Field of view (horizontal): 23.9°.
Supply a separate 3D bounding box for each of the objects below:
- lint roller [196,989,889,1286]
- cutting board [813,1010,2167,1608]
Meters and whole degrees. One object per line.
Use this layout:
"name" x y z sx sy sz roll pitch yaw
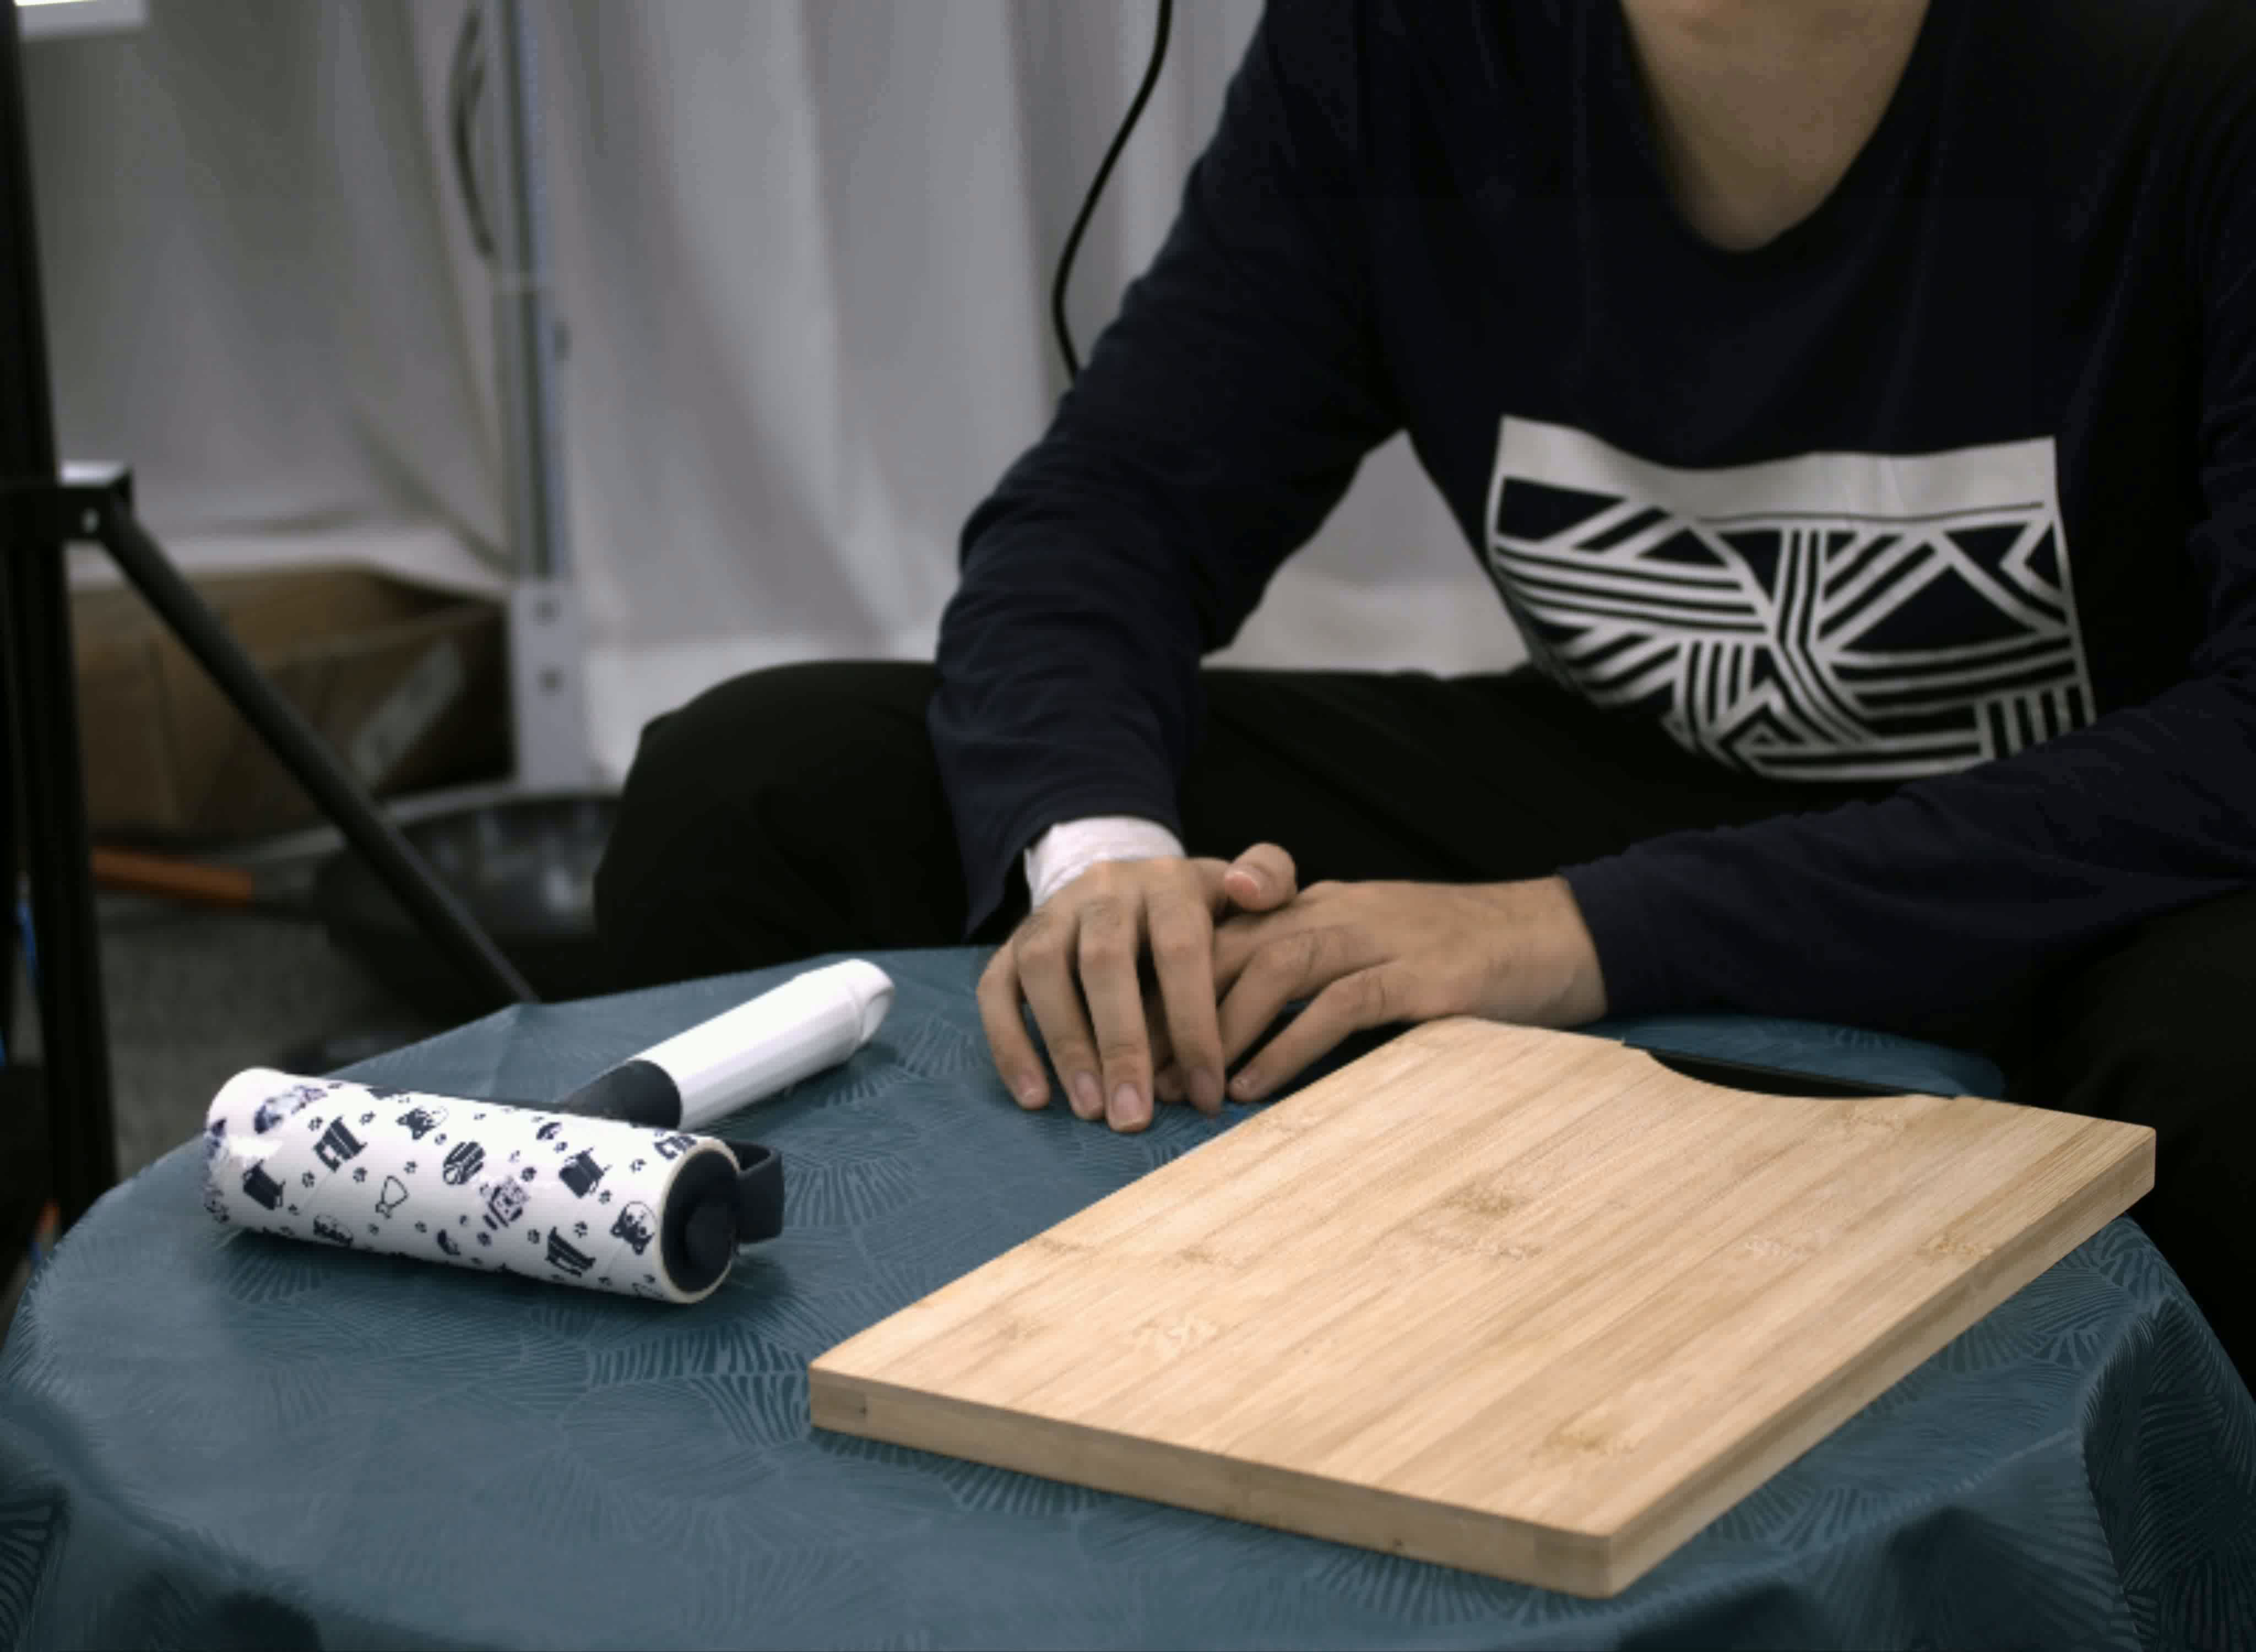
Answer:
"lint roller" -0.142 0.079 1.612 0.179 0.050 0.242 5 15 28
"cutting board" 0.109 0.123 1.464 0.255 0.023 0.342 8 19 32
